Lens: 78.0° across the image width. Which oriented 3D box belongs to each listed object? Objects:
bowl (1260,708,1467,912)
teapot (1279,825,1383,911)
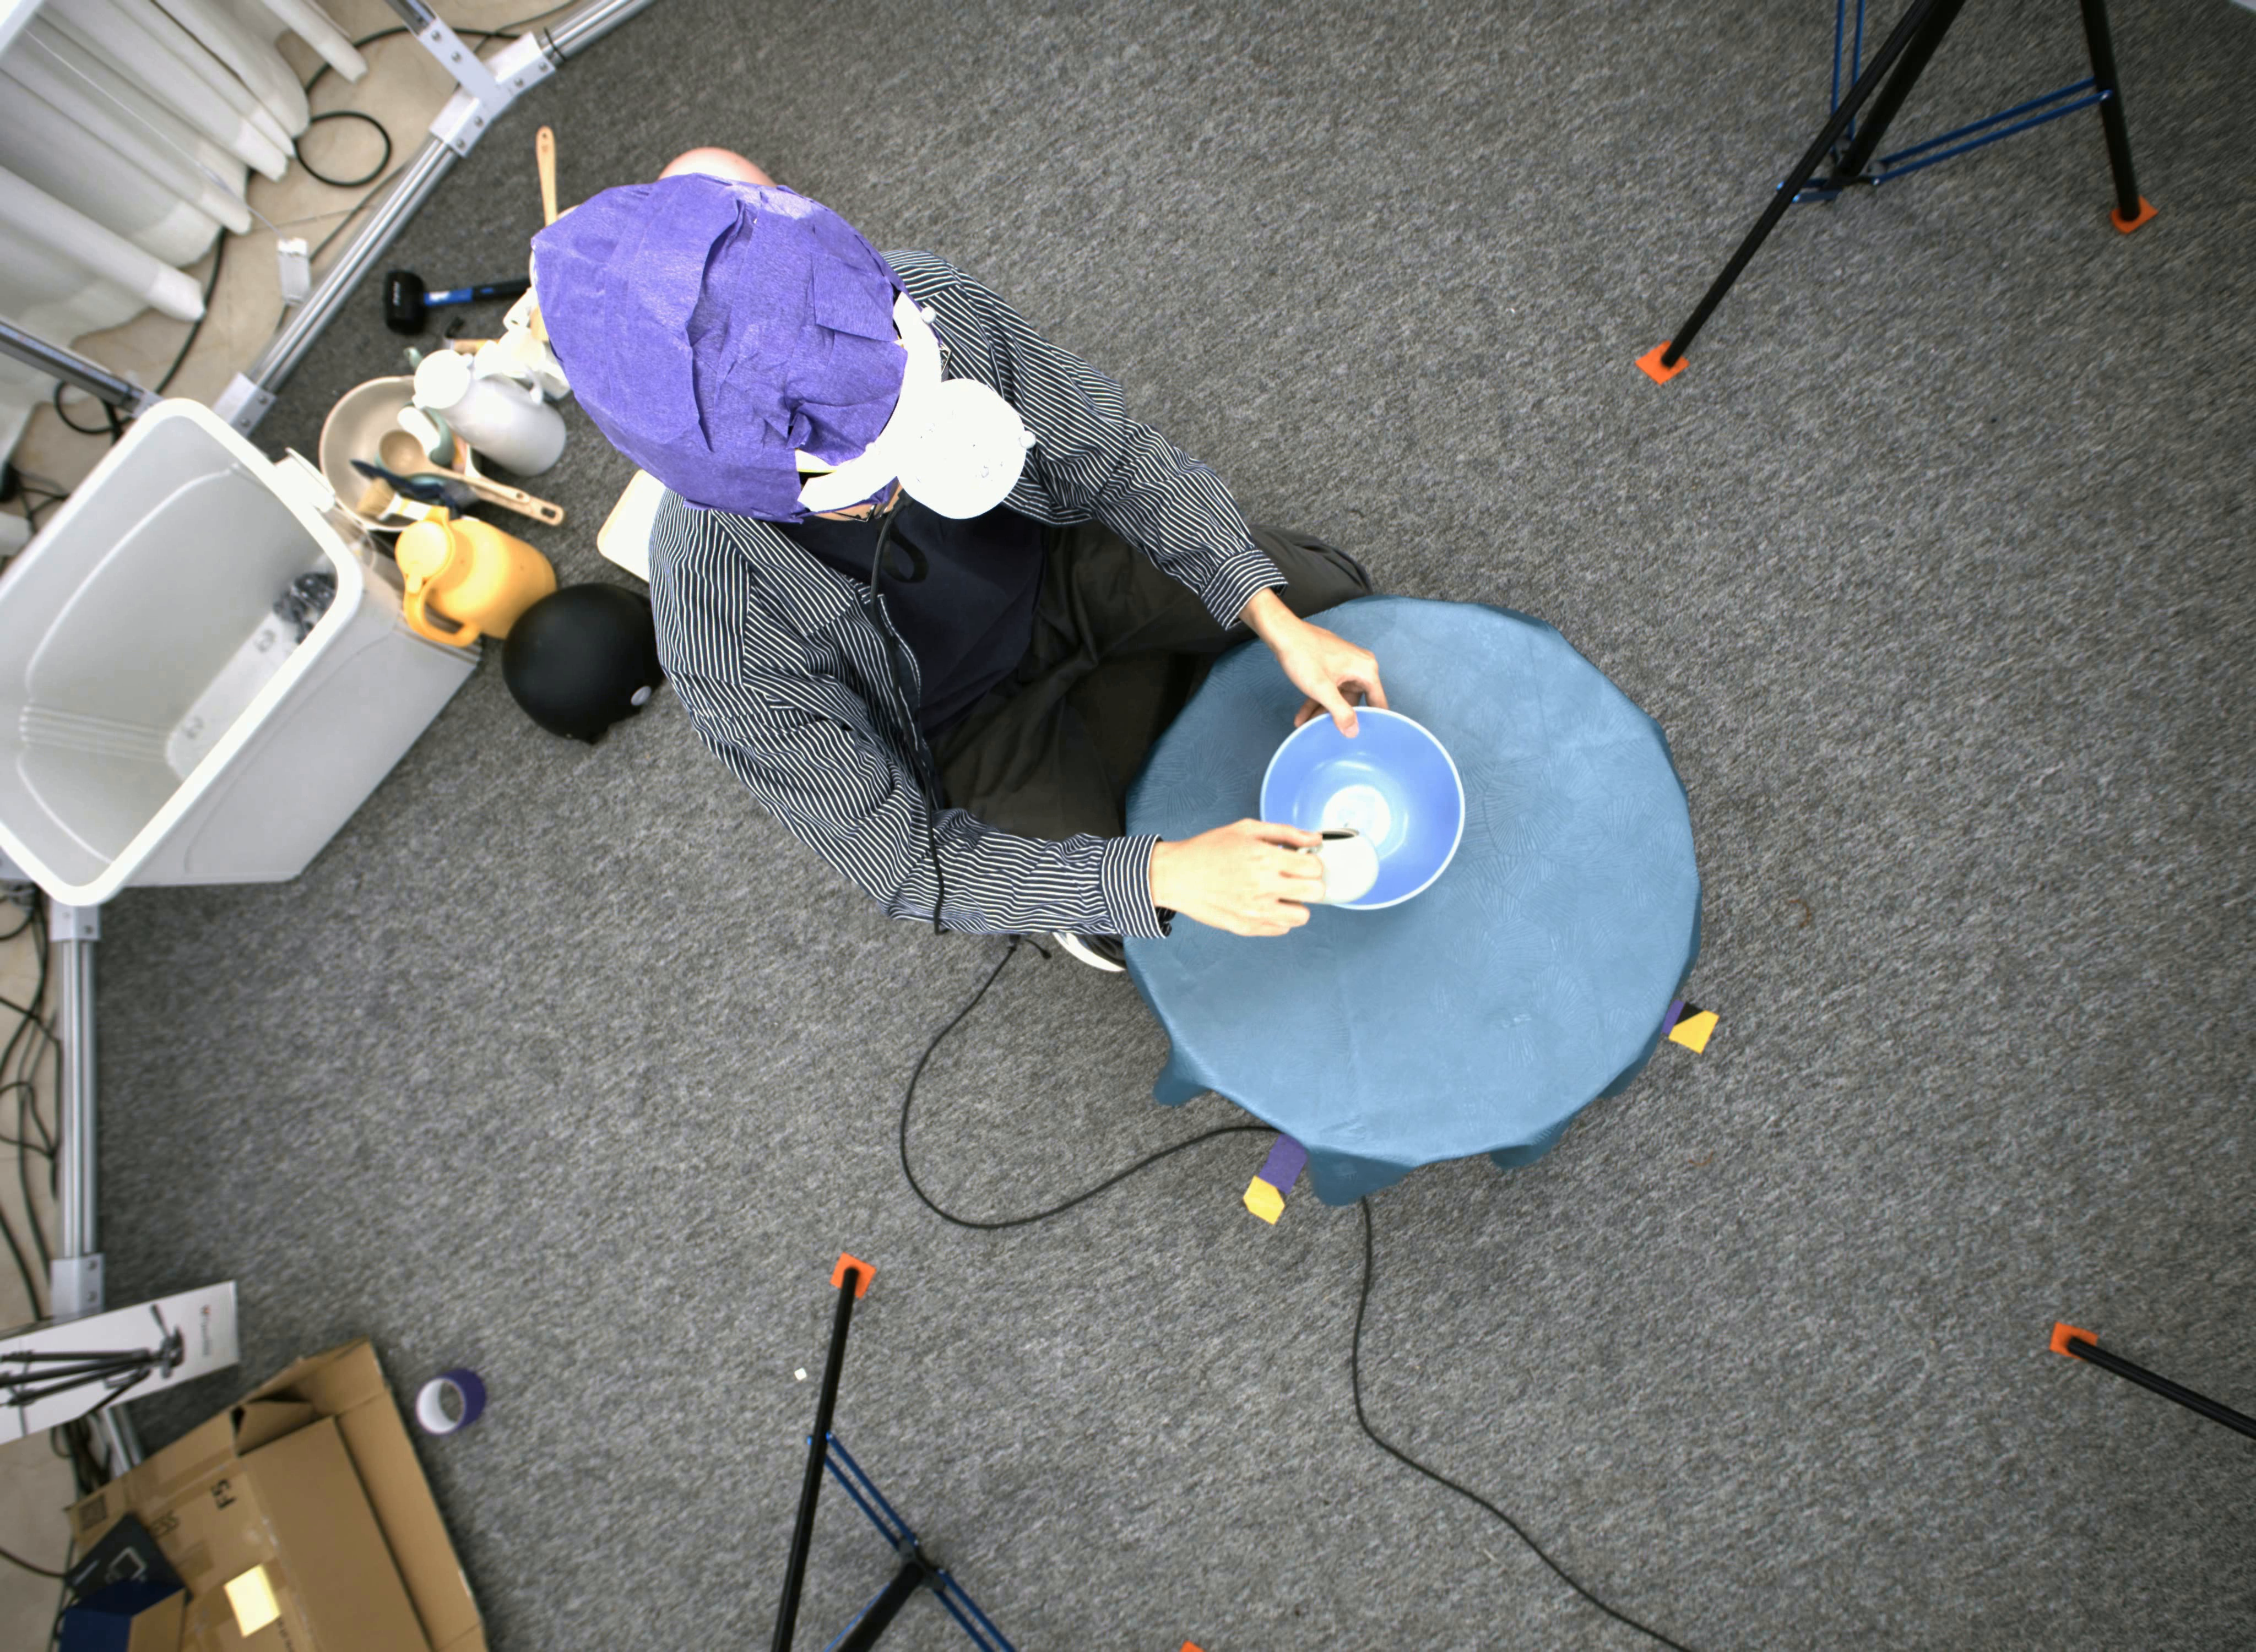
[{"bbox_3d":[0.226,-0.013,1.356,0.197,0.095,0.196,0,87,3],"label":"bowl"},{"bbox_3d":[0.175,0.041,1.229,0.092,0.126,0.062,12,111,36],"label":"teapot"}]
